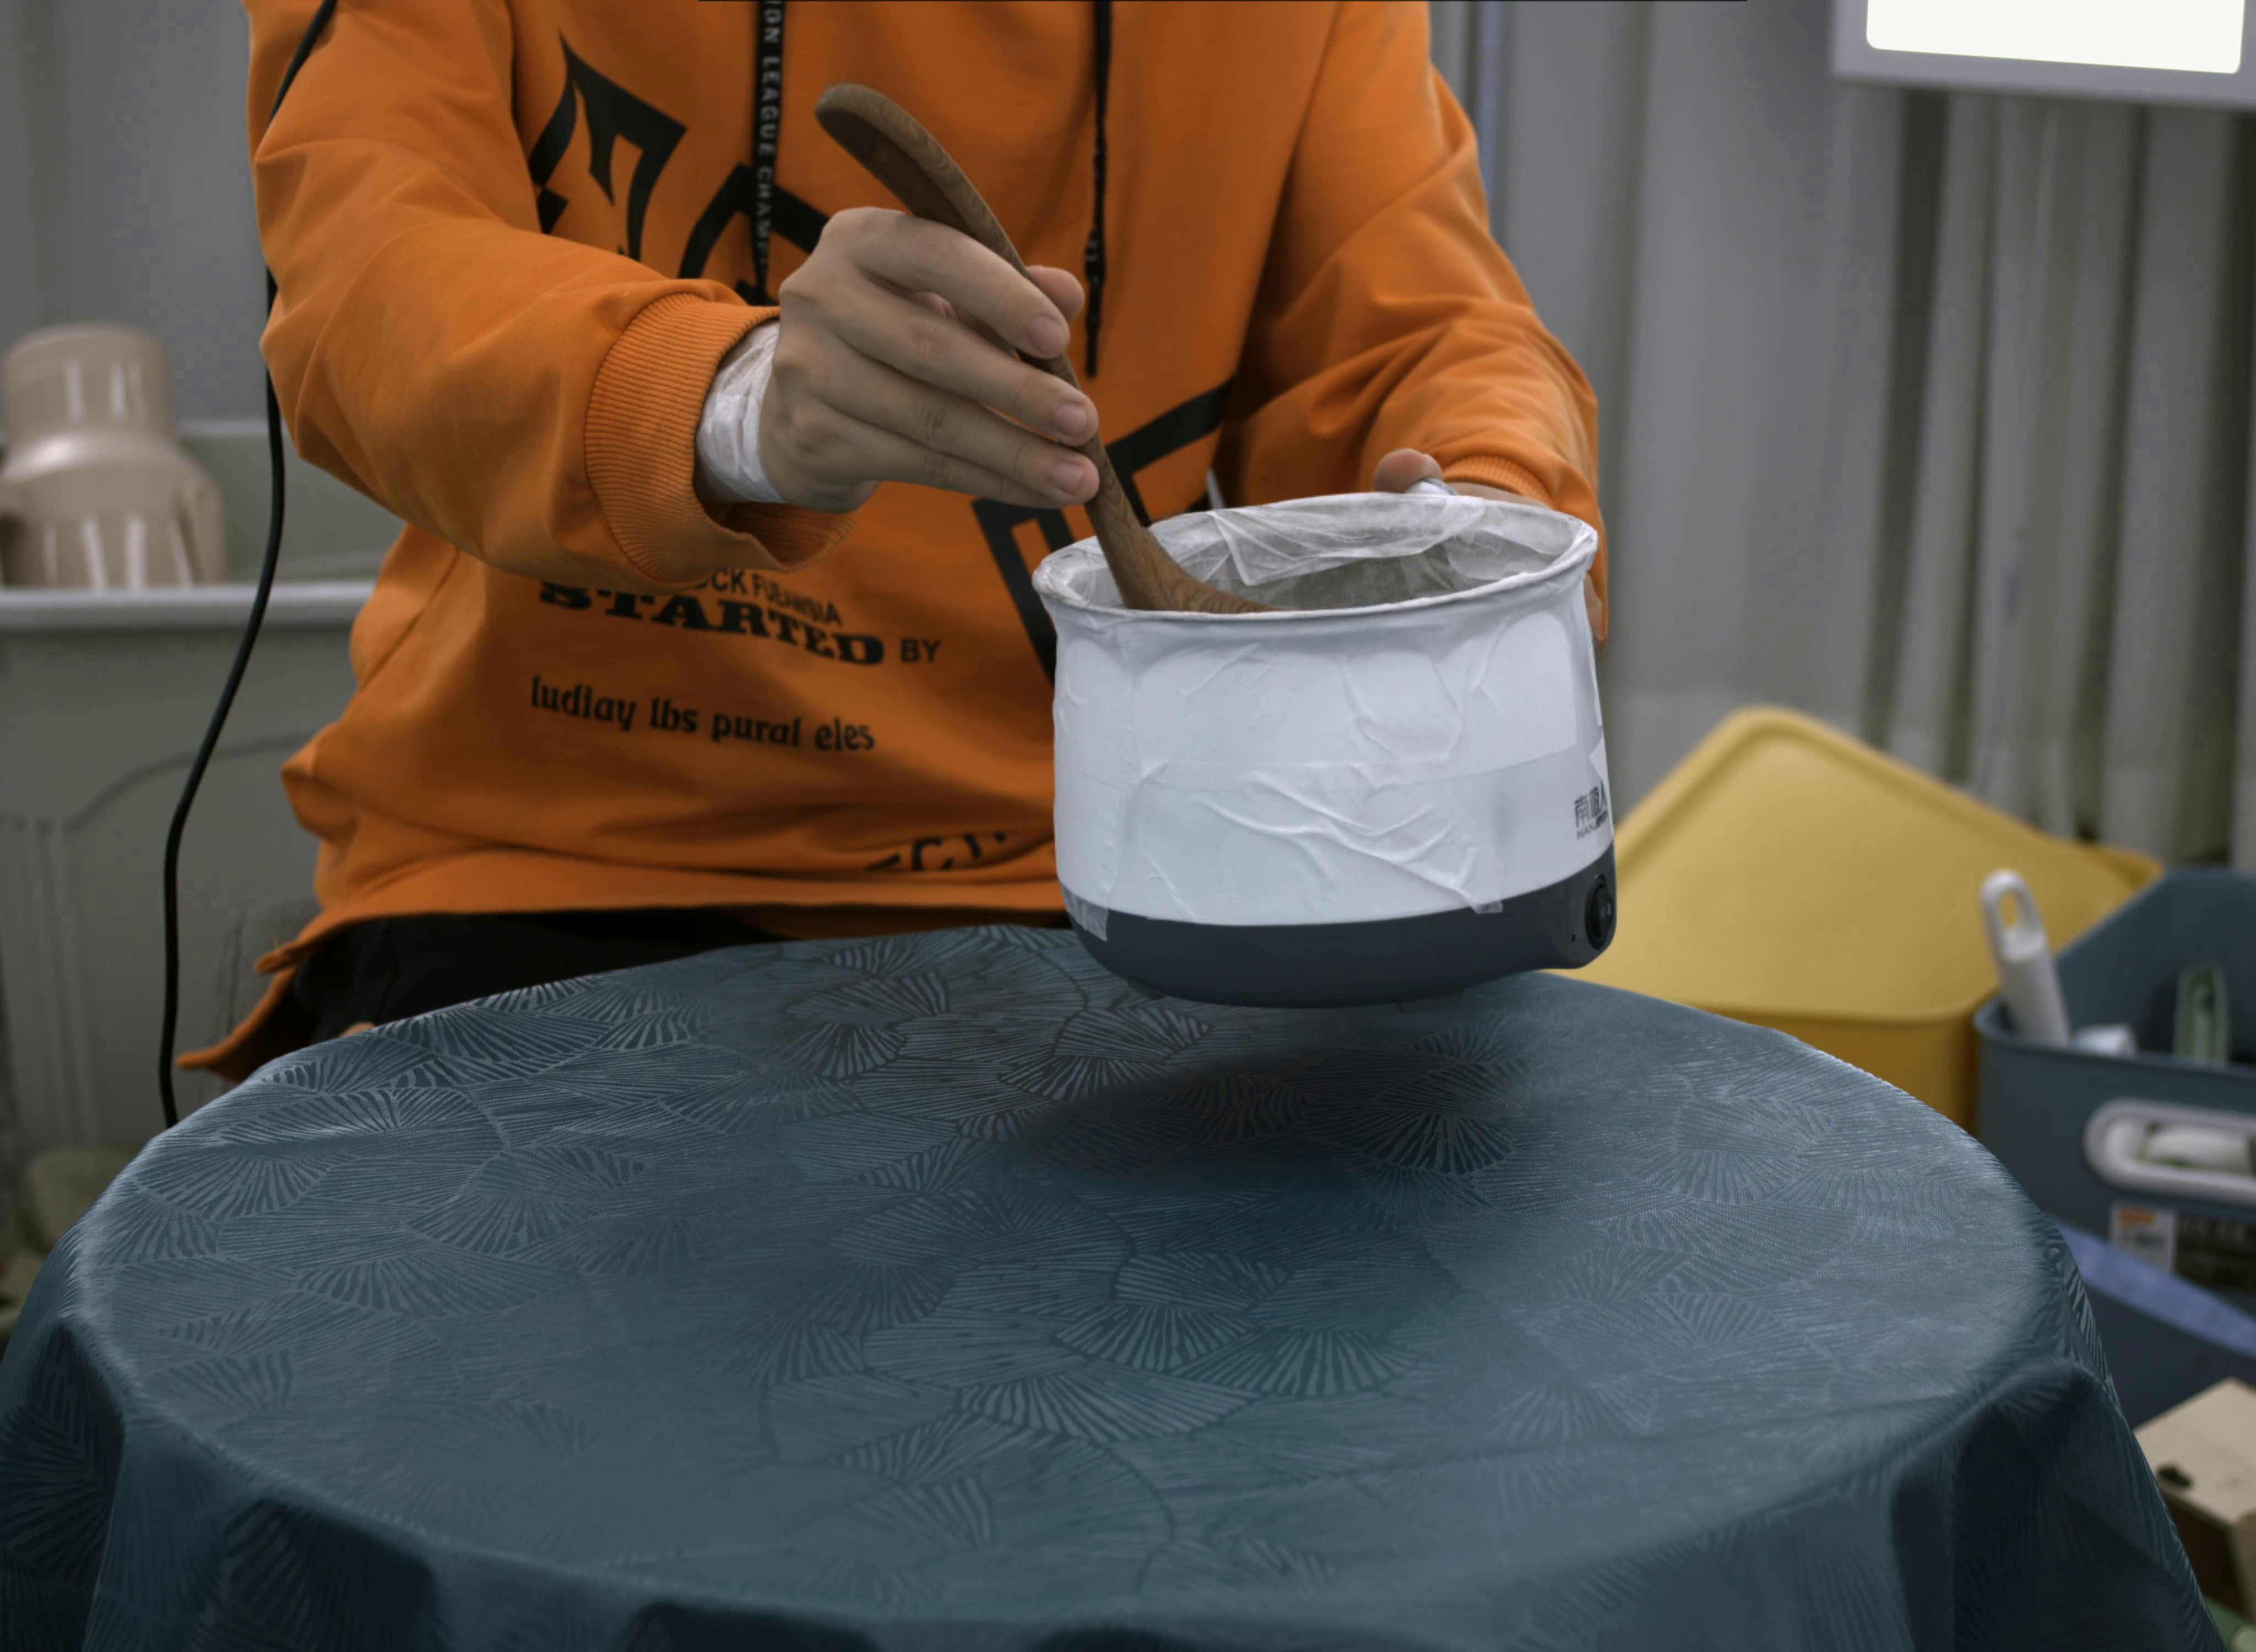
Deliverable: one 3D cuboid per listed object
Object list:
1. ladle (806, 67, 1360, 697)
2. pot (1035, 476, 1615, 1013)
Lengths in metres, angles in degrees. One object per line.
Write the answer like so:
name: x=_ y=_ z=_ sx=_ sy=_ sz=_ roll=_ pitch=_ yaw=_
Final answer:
ladle: x=-0.004 y=-0.130 z=1.604 sx=0.065 sy=0.261 sz=0.076 roll=-37 pitch=6 yaw=-34
pot: x=0.073 y=-0.031 z=1.683 sx=0.177 sy=0.138 sz=0.234 roll=2 pitch=16 yaw=22
